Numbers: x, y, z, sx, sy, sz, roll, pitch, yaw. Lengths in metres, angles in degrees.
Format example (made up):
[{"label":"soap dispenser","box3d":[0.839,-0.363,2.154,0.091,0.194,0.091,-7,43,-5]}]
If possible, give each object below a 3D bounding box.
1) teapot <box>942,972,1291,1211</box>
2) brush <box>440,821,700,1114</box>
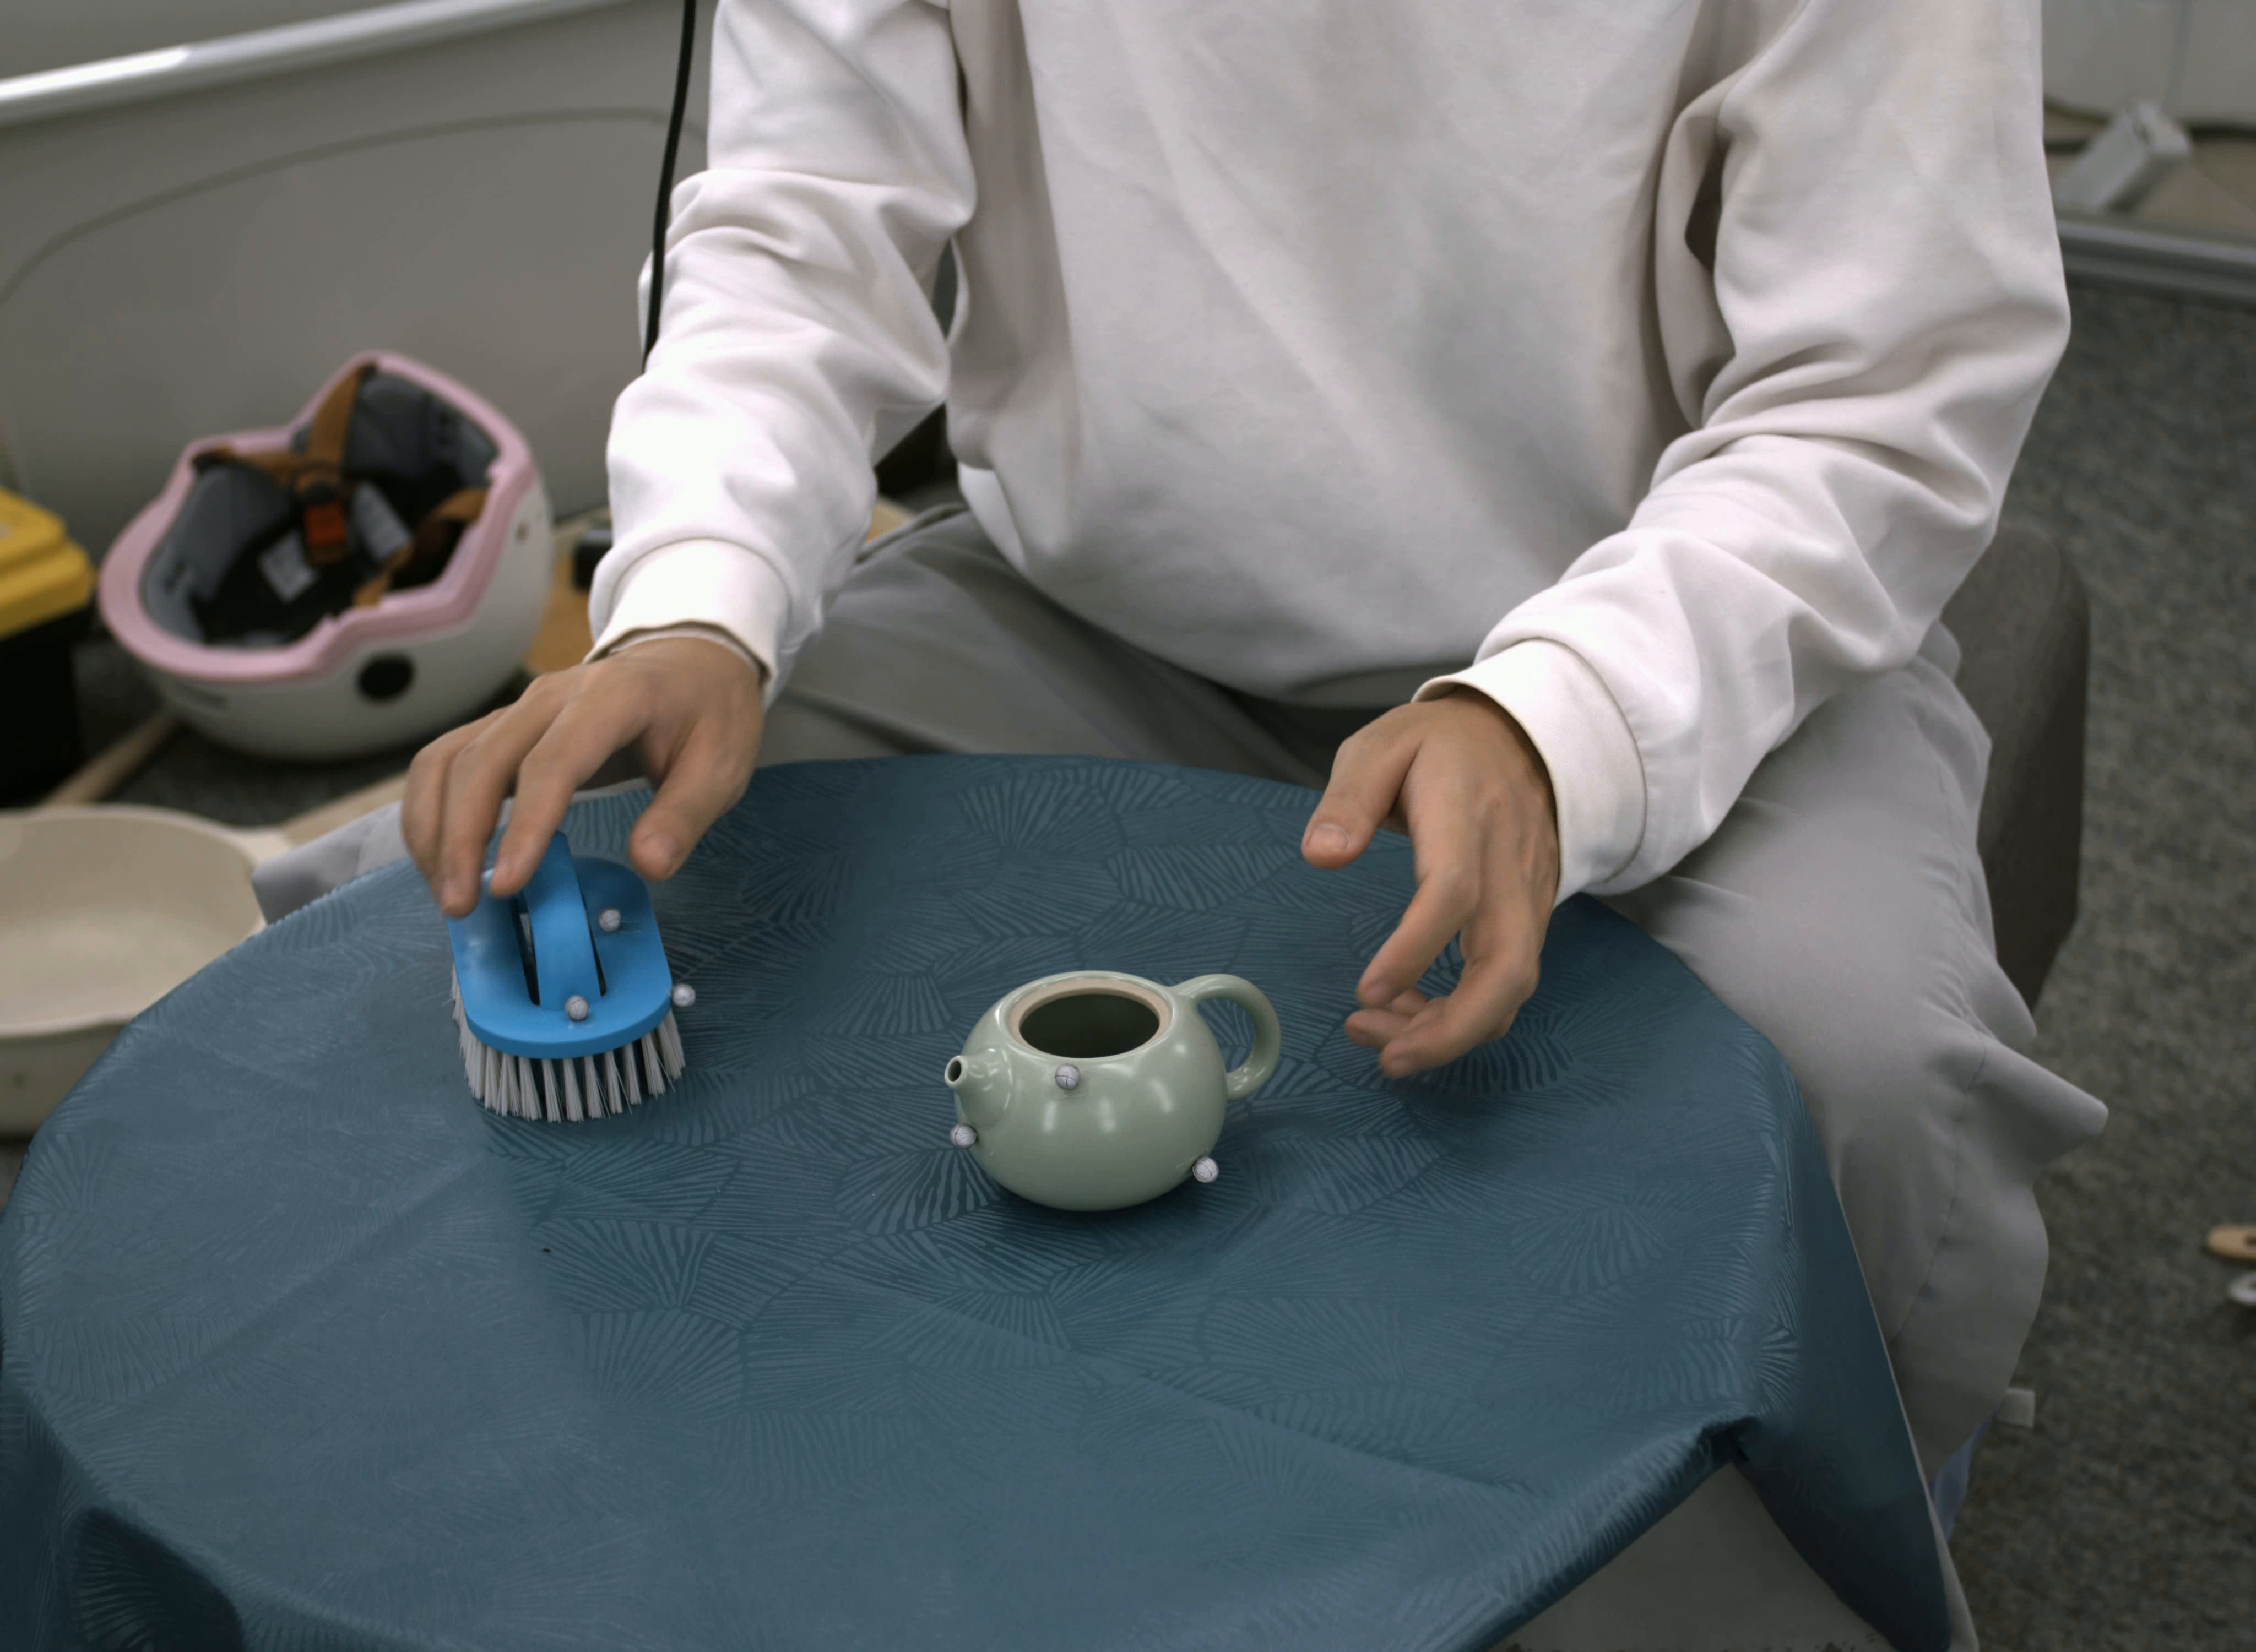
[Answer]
[{"label":"teapot","box3d":[-0.003,0.087,1.869,0.129,0.060,0.092,-14,26,-24]},{"label":"brush","box3d":[-0.200,0.041,1.967,0.084,0.063,0.143,-12,28,-5]}]
